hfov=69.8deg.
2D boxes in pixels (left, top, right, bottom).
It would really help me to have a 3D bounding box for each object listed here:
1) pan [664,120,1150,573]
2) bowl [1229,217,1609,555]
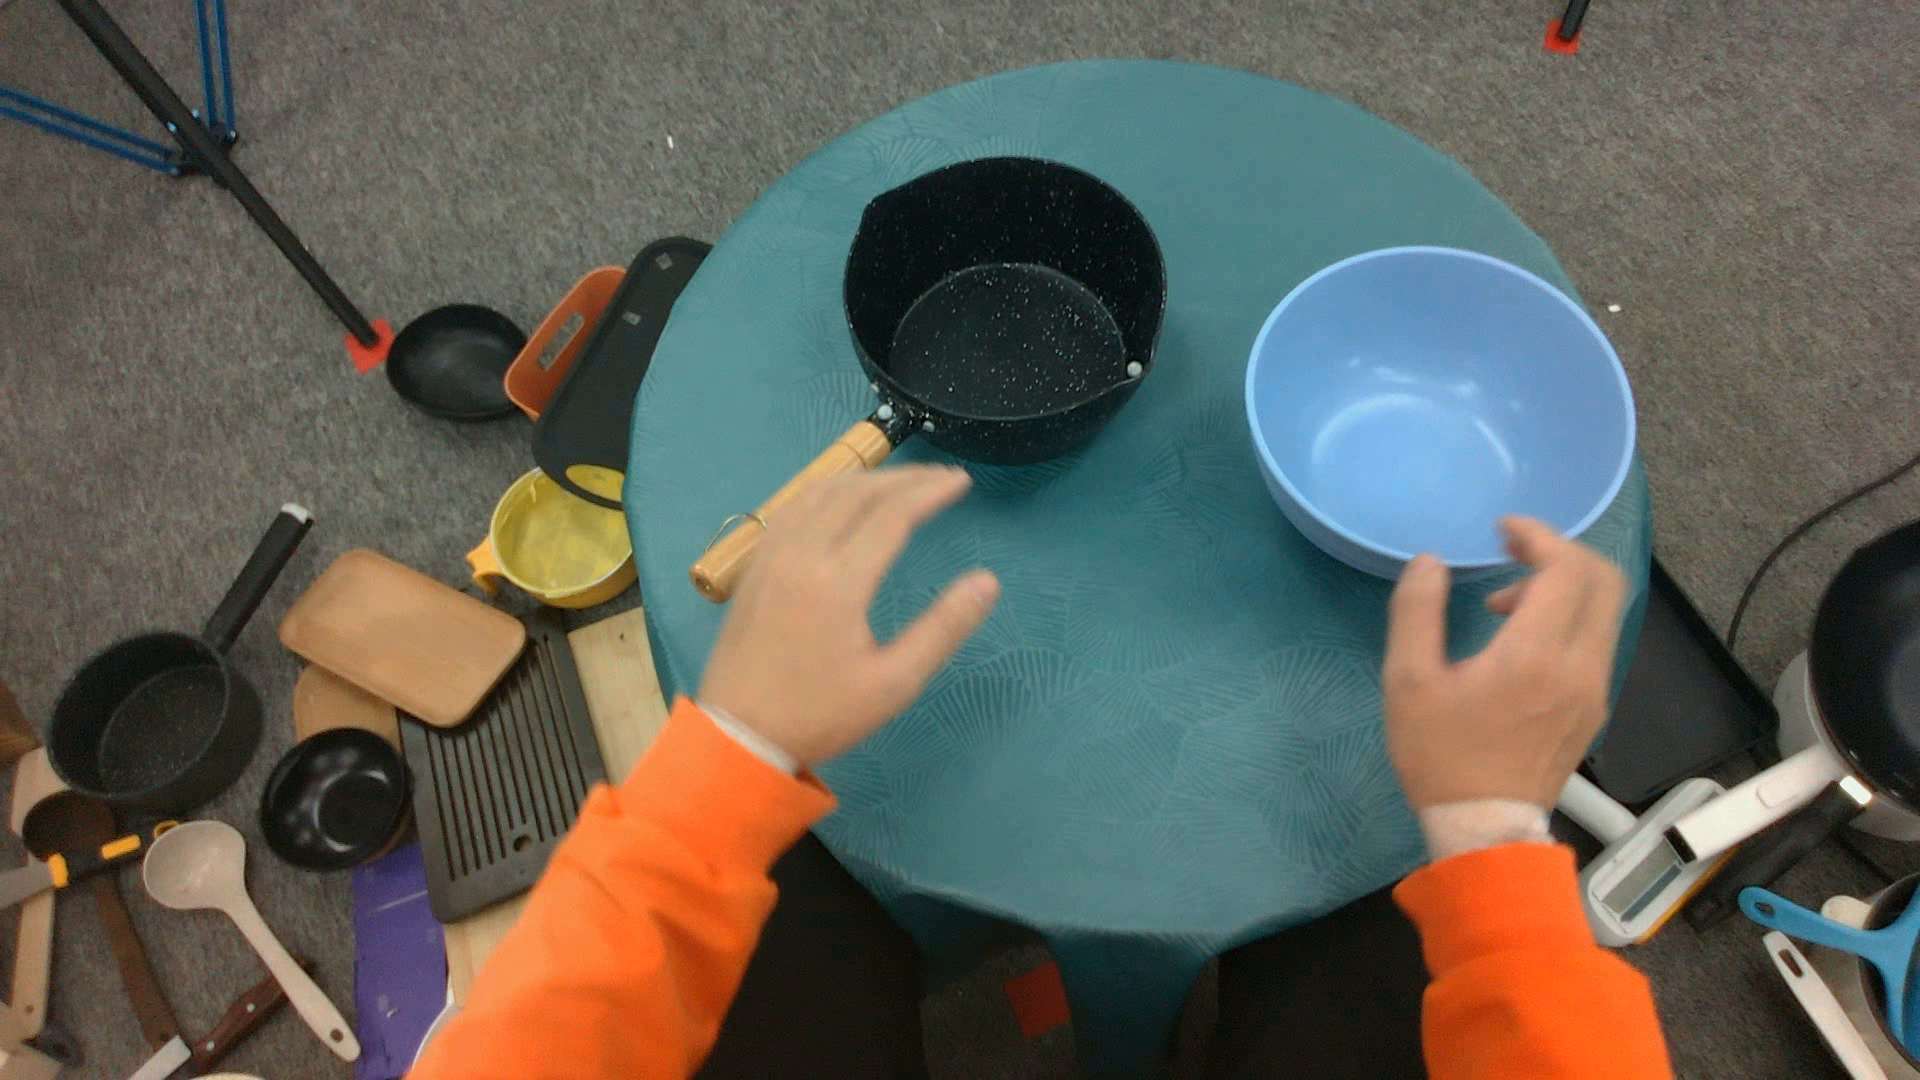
[{"bbox_3d":[-0.032,-0.092,0.775,0.207,0.108,0.344,34,69,15],"label":"pan"},{"bbox_3d":[0.240,-0.071,0.761,0.196,0.095,0.197,0,64,1],"label":"bowl"}]
